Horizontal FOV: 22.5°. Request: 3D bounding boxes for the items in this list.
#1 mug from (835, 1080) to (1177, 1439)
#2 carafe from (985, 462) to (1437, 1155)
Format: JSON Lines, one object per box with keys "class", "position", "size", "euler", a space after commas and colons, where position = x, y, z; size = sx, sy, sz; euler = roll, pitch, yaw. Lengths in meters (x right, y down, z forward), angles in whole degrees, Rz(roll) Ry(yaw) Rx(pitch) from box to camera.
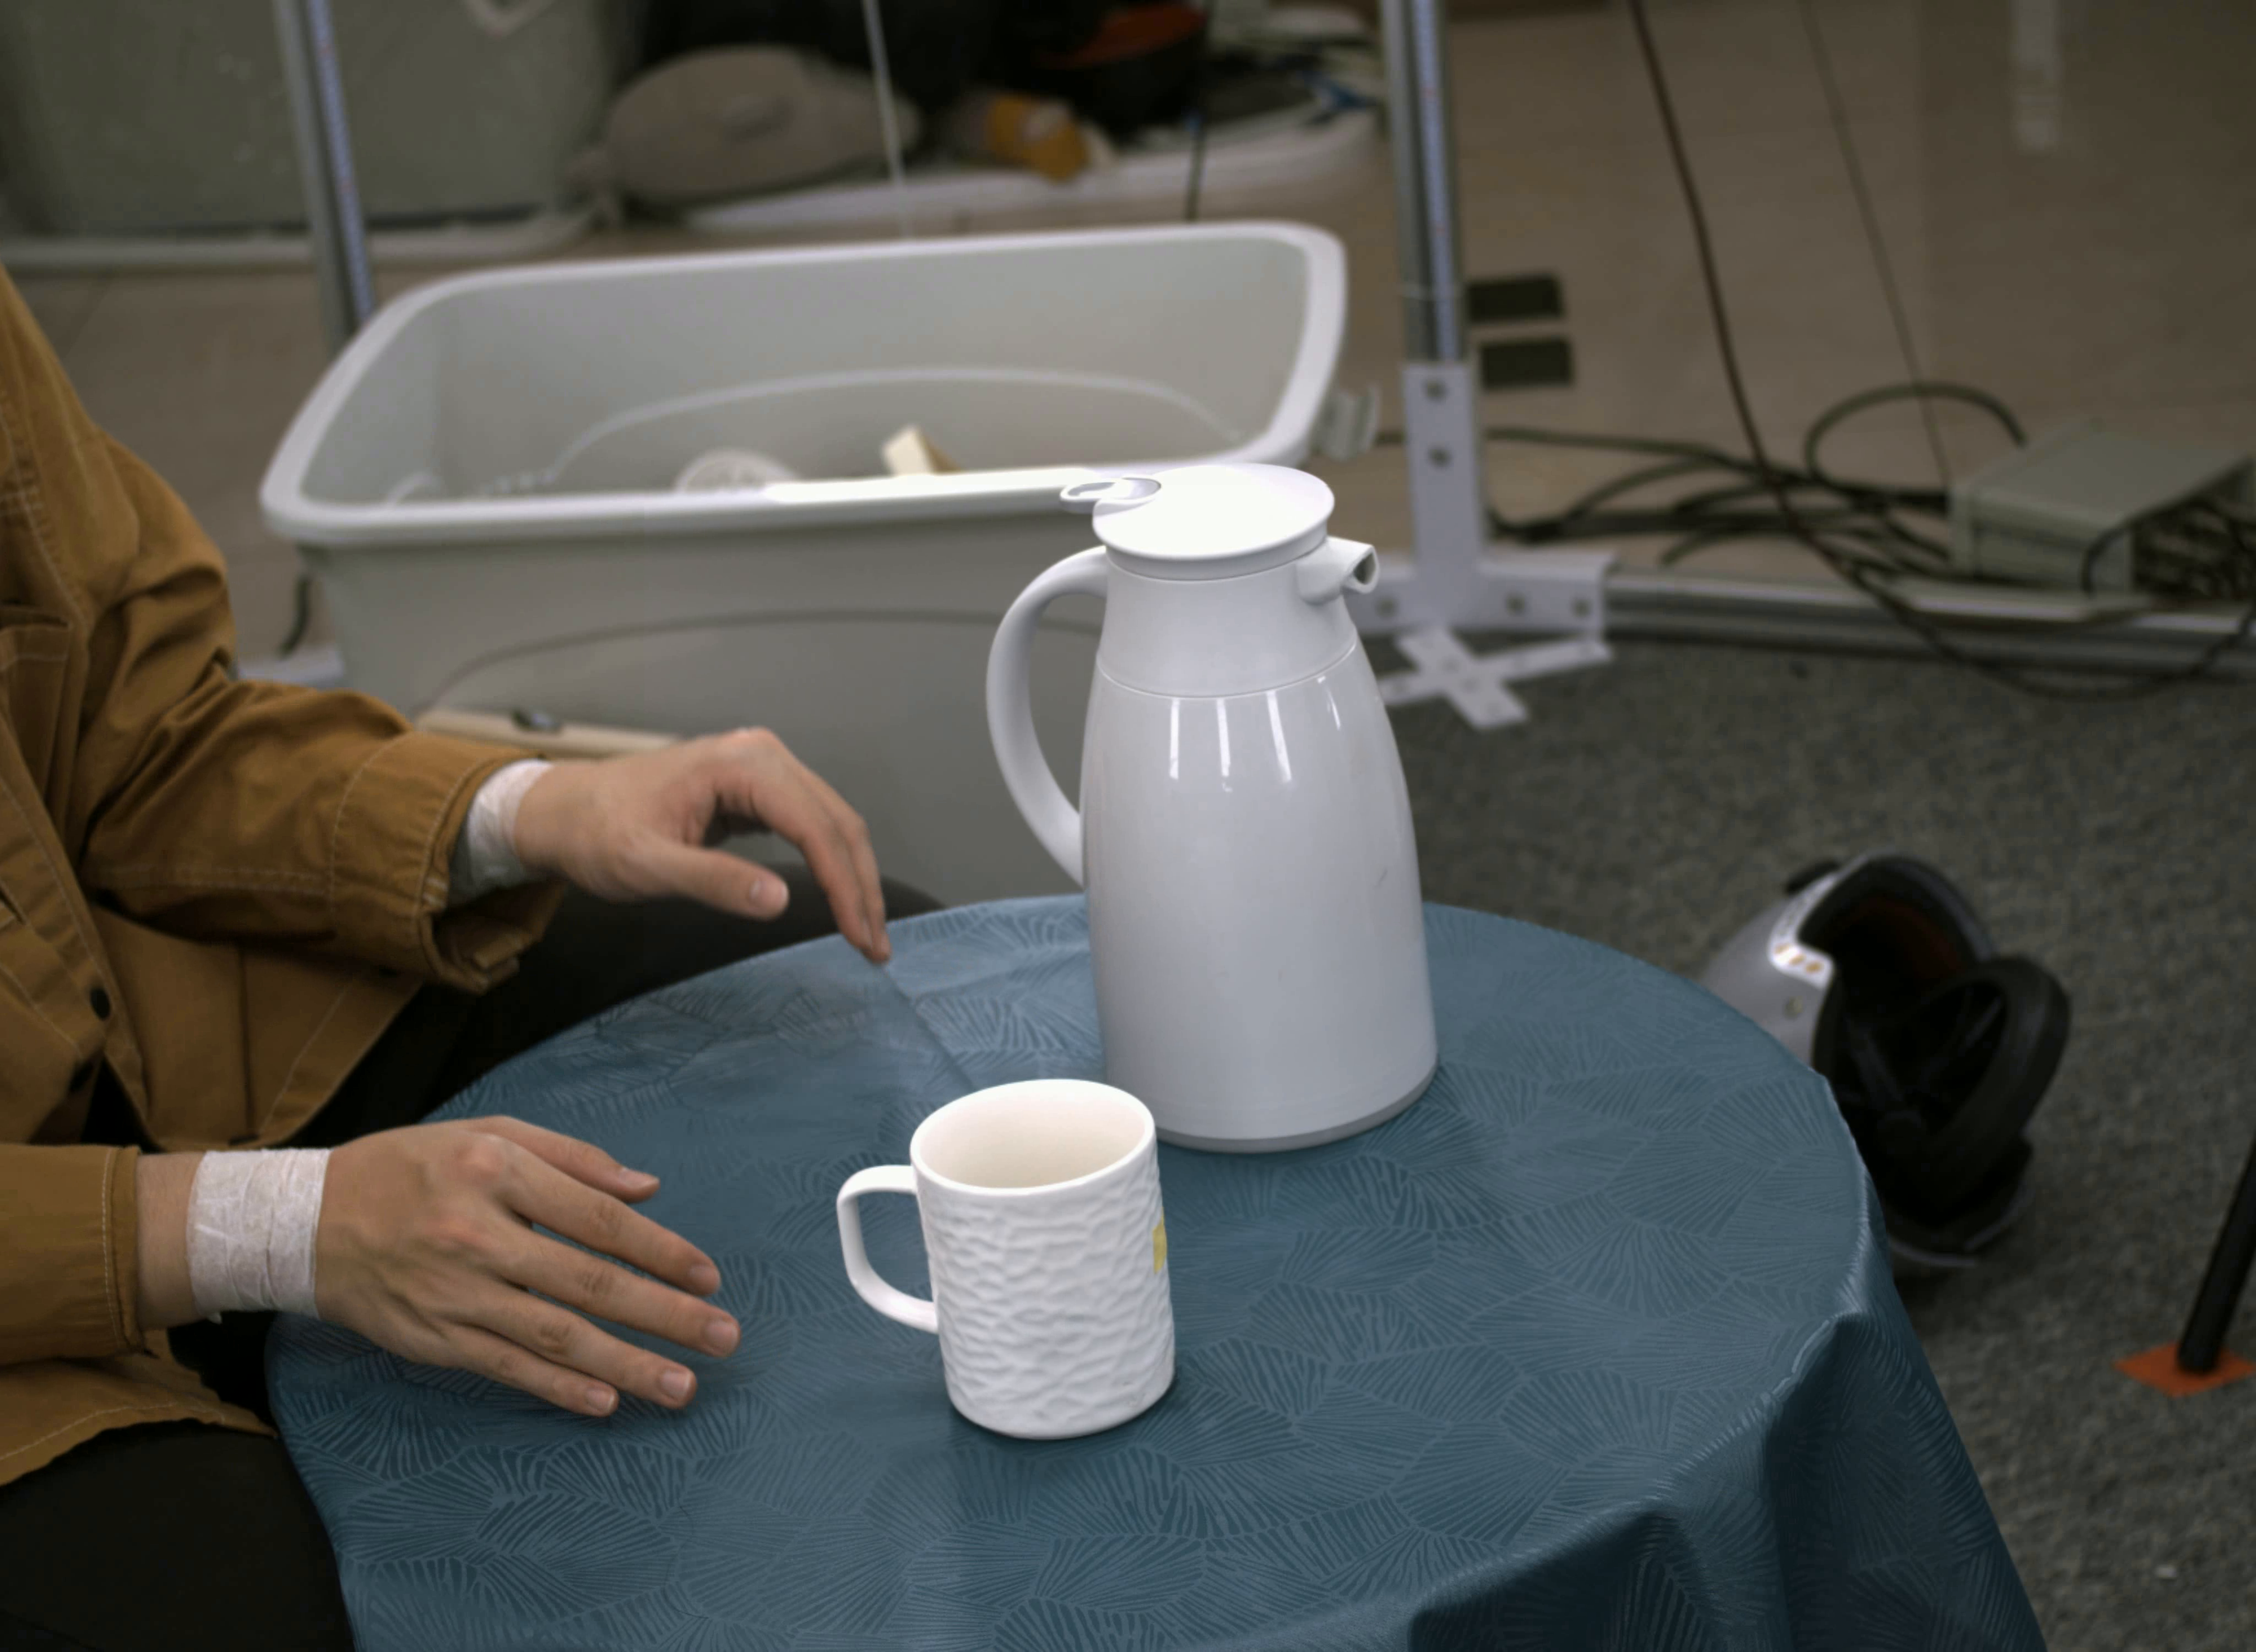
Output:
{"class": "mug", "position": [-0.044, 0.154, 2.007], "size": [0.118, 0.103, 0.084], "euler": [0, 25, 14]}
{"class": "carafe", "position": [0.026, -0.015, 2.175], "size": [0.167, 0.252, 0.131], "euler": [6, 29, 24]}
